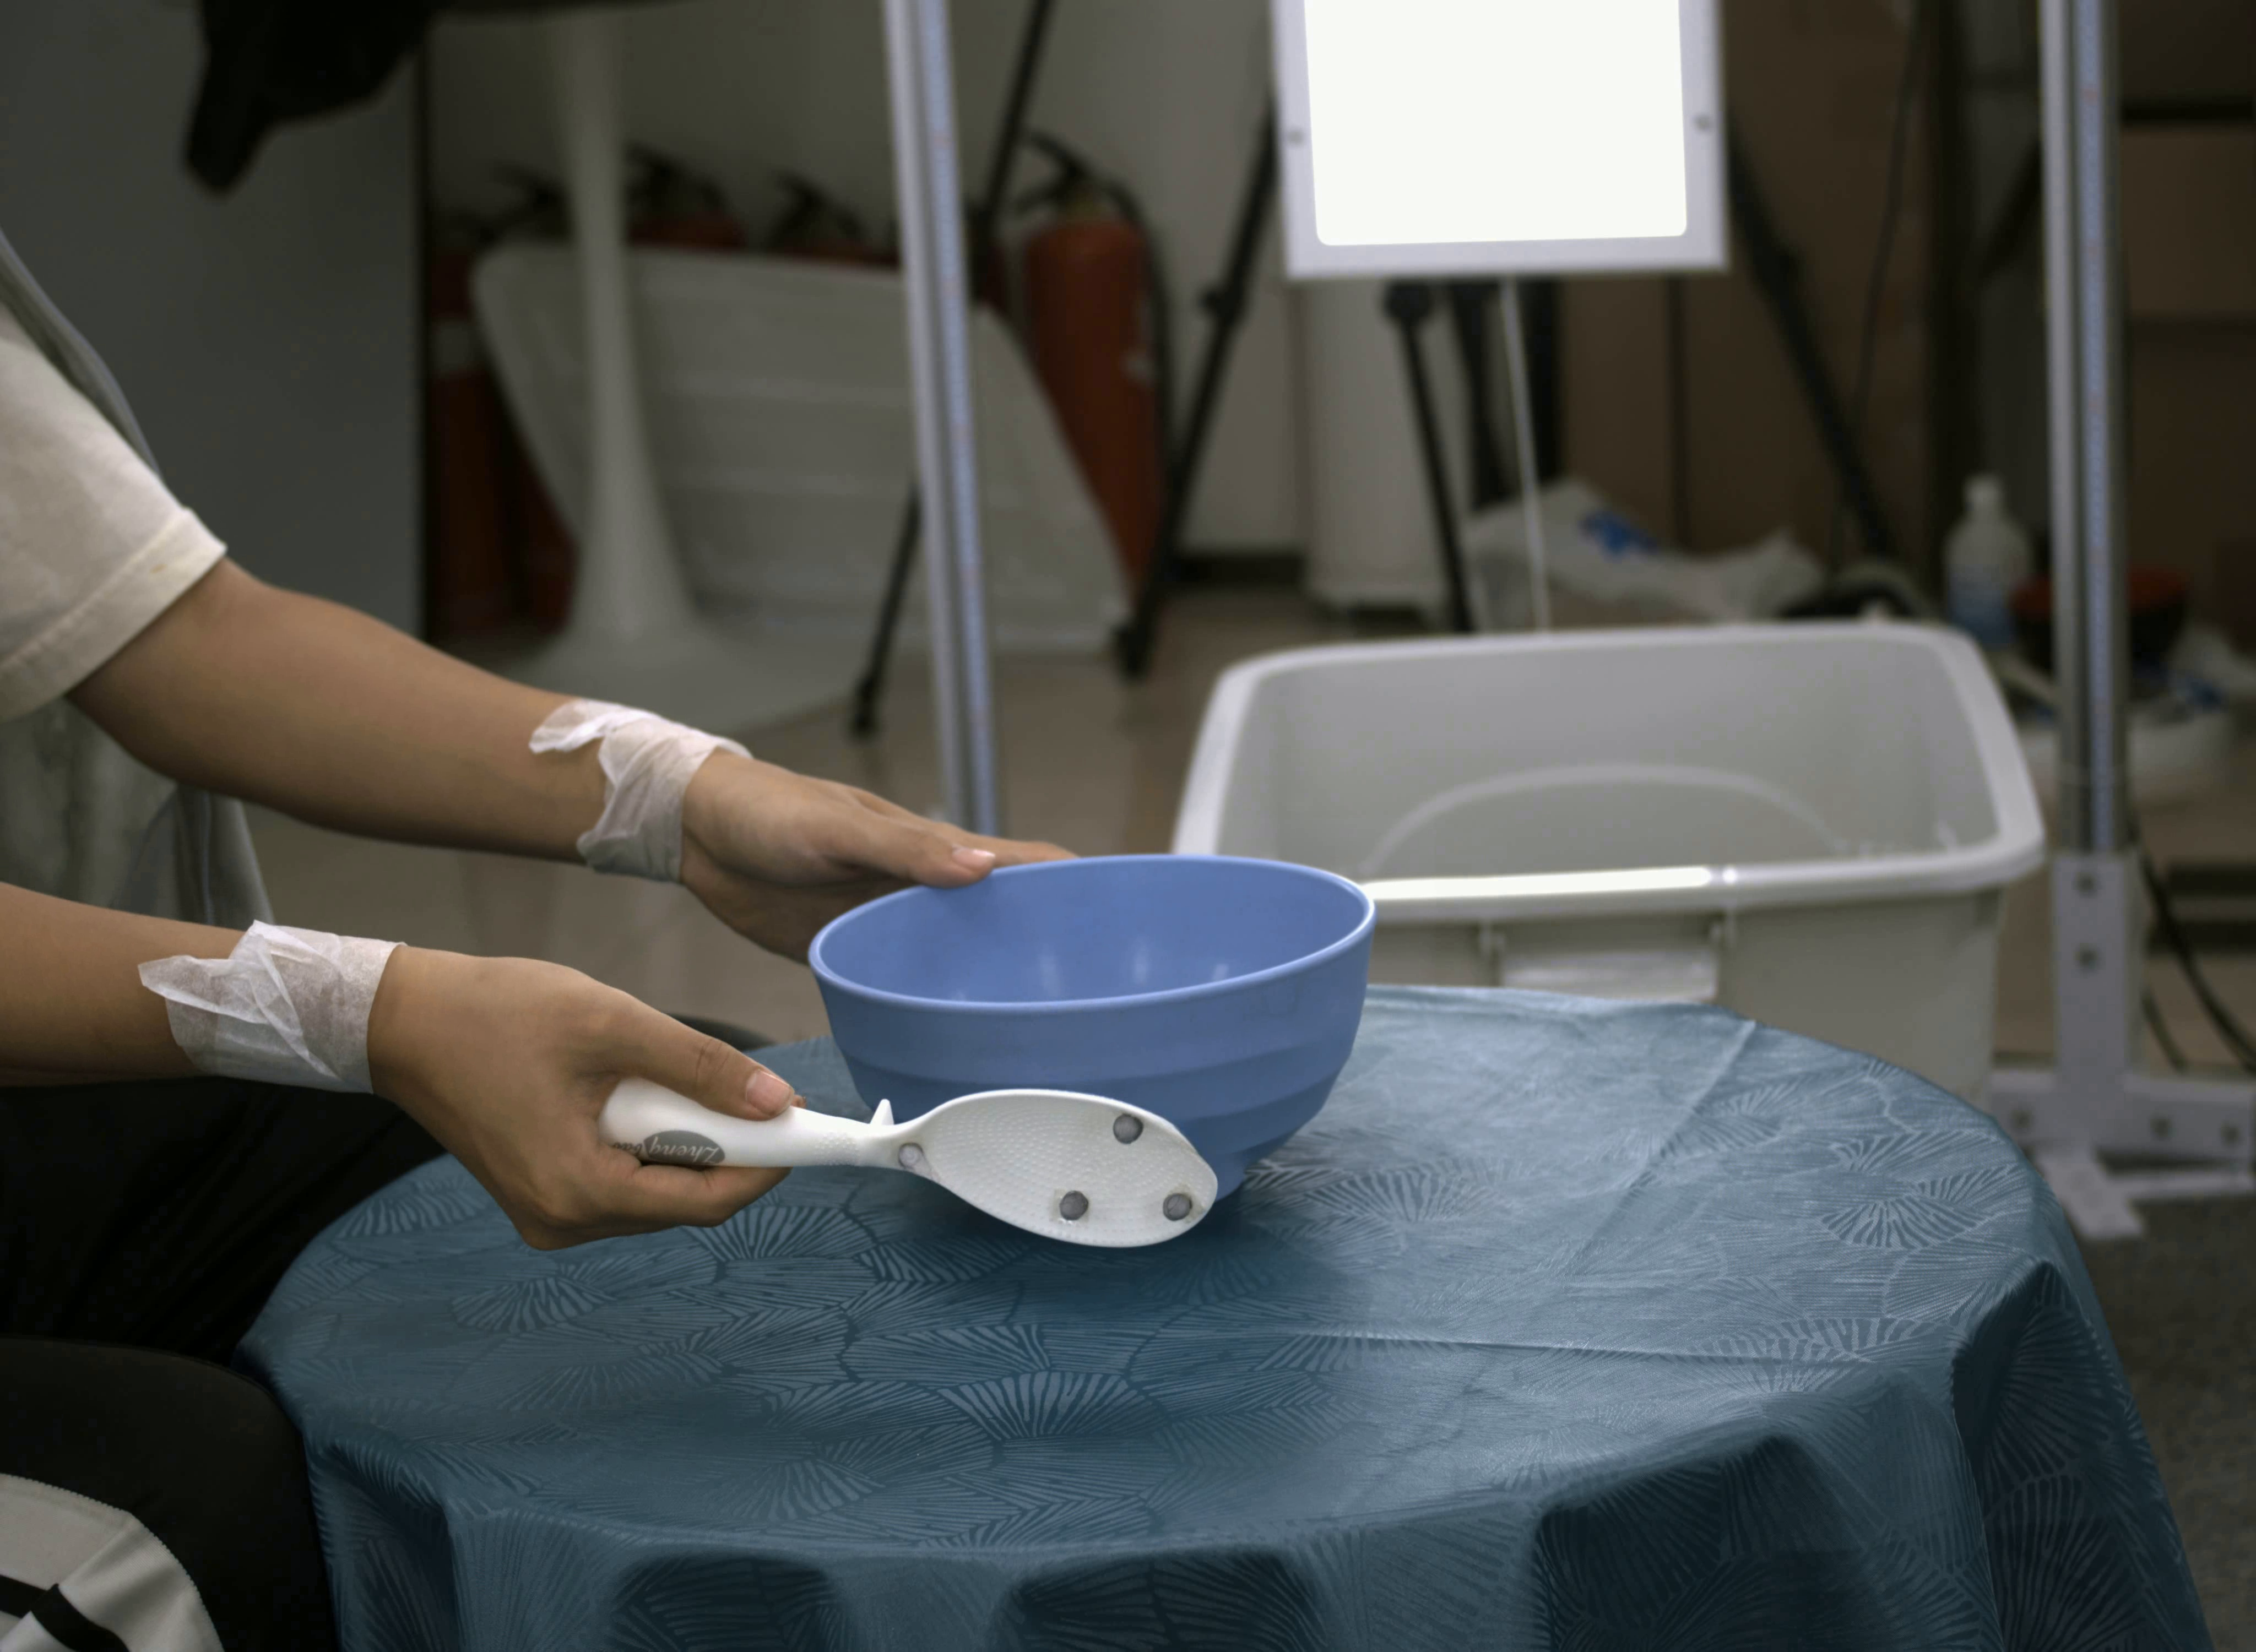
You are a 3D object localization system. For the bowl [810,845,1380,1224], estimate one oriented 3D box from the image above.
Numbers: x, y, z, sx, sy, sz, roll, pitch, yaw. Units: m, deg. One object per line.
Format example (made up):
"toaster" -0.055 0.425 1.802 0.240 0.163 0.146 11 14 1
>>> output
"bowl" -0.009 0.077 1.895 0.196 0.096 0.196 -4 15 0

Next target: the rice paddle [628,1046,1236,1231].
"rice paddle" -0.060 0.094 1.698 0.209 0.069 0.029 1 33 29
